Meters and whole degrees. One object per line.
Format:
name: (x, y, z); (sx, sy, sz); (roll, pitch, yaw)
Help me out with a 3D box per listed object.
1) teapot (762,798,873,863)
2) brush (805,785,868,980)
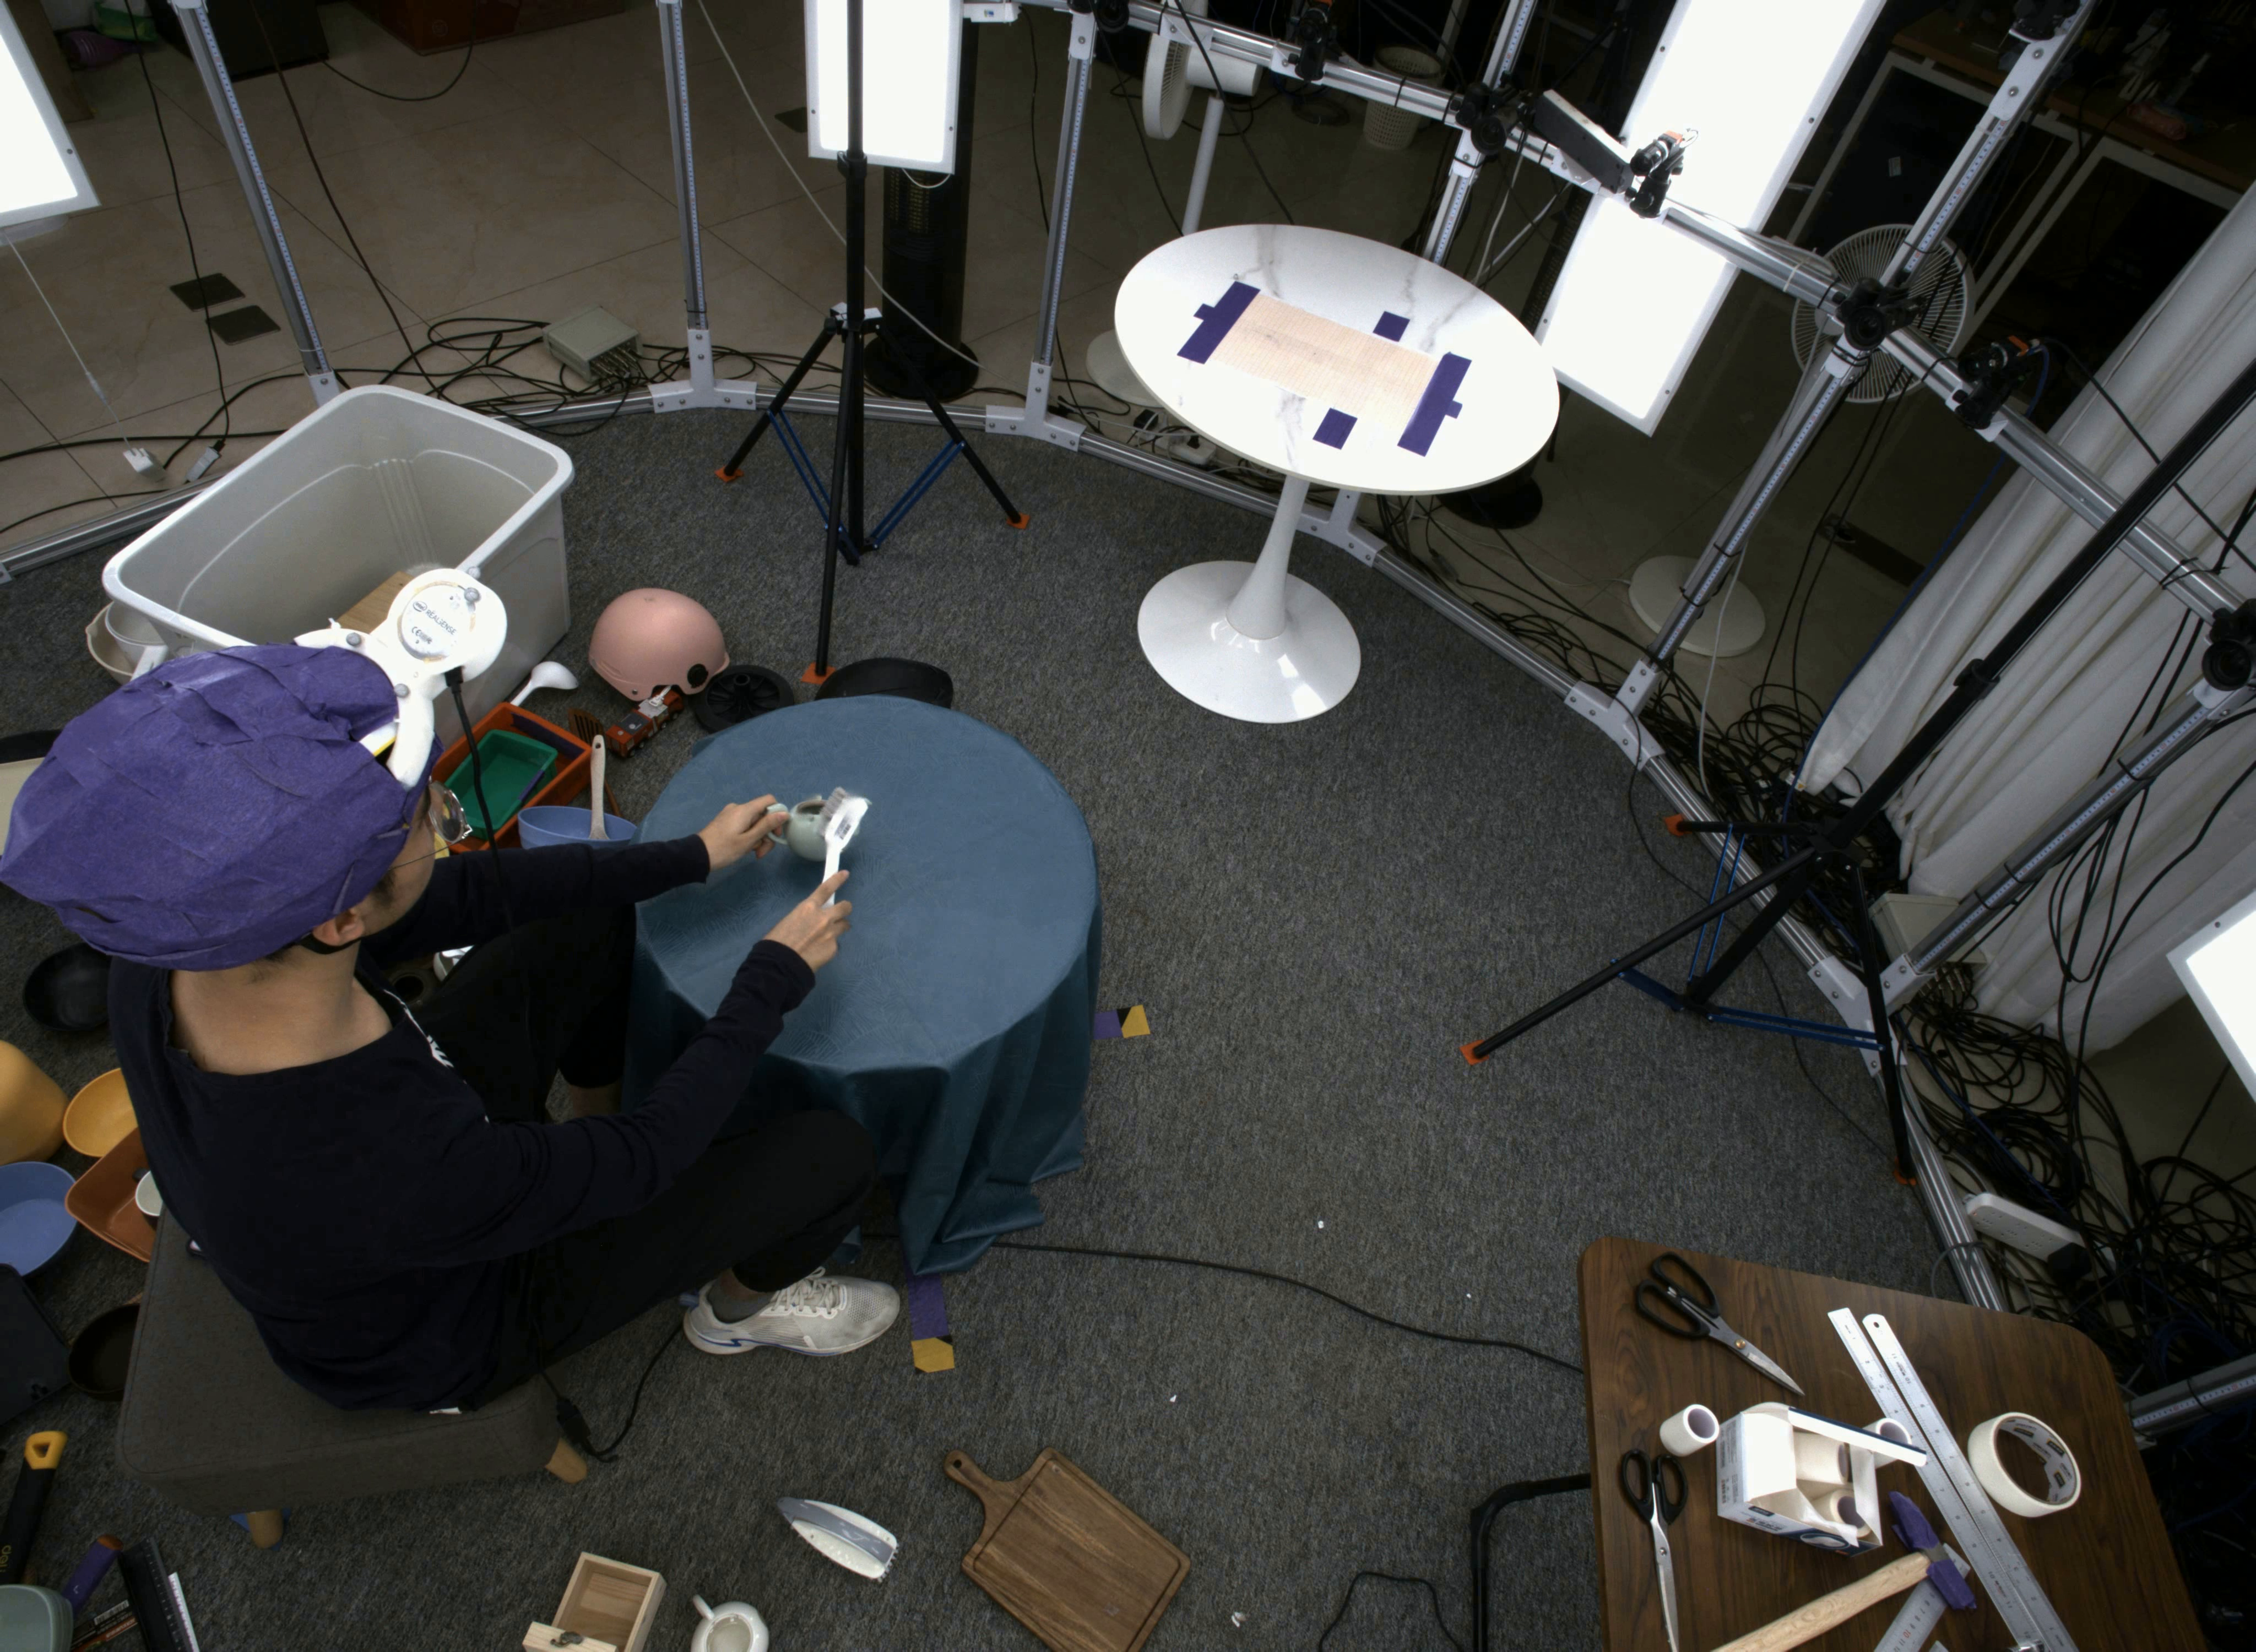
teapot: (-0.397, 0.004, 1.661); (0.145, 0.076, 0.085); (-5, 25, -29)
brush: (-0.369, 0.065, 1.567); (0.049, 0.035, 0.243); (4, 69, 19)
